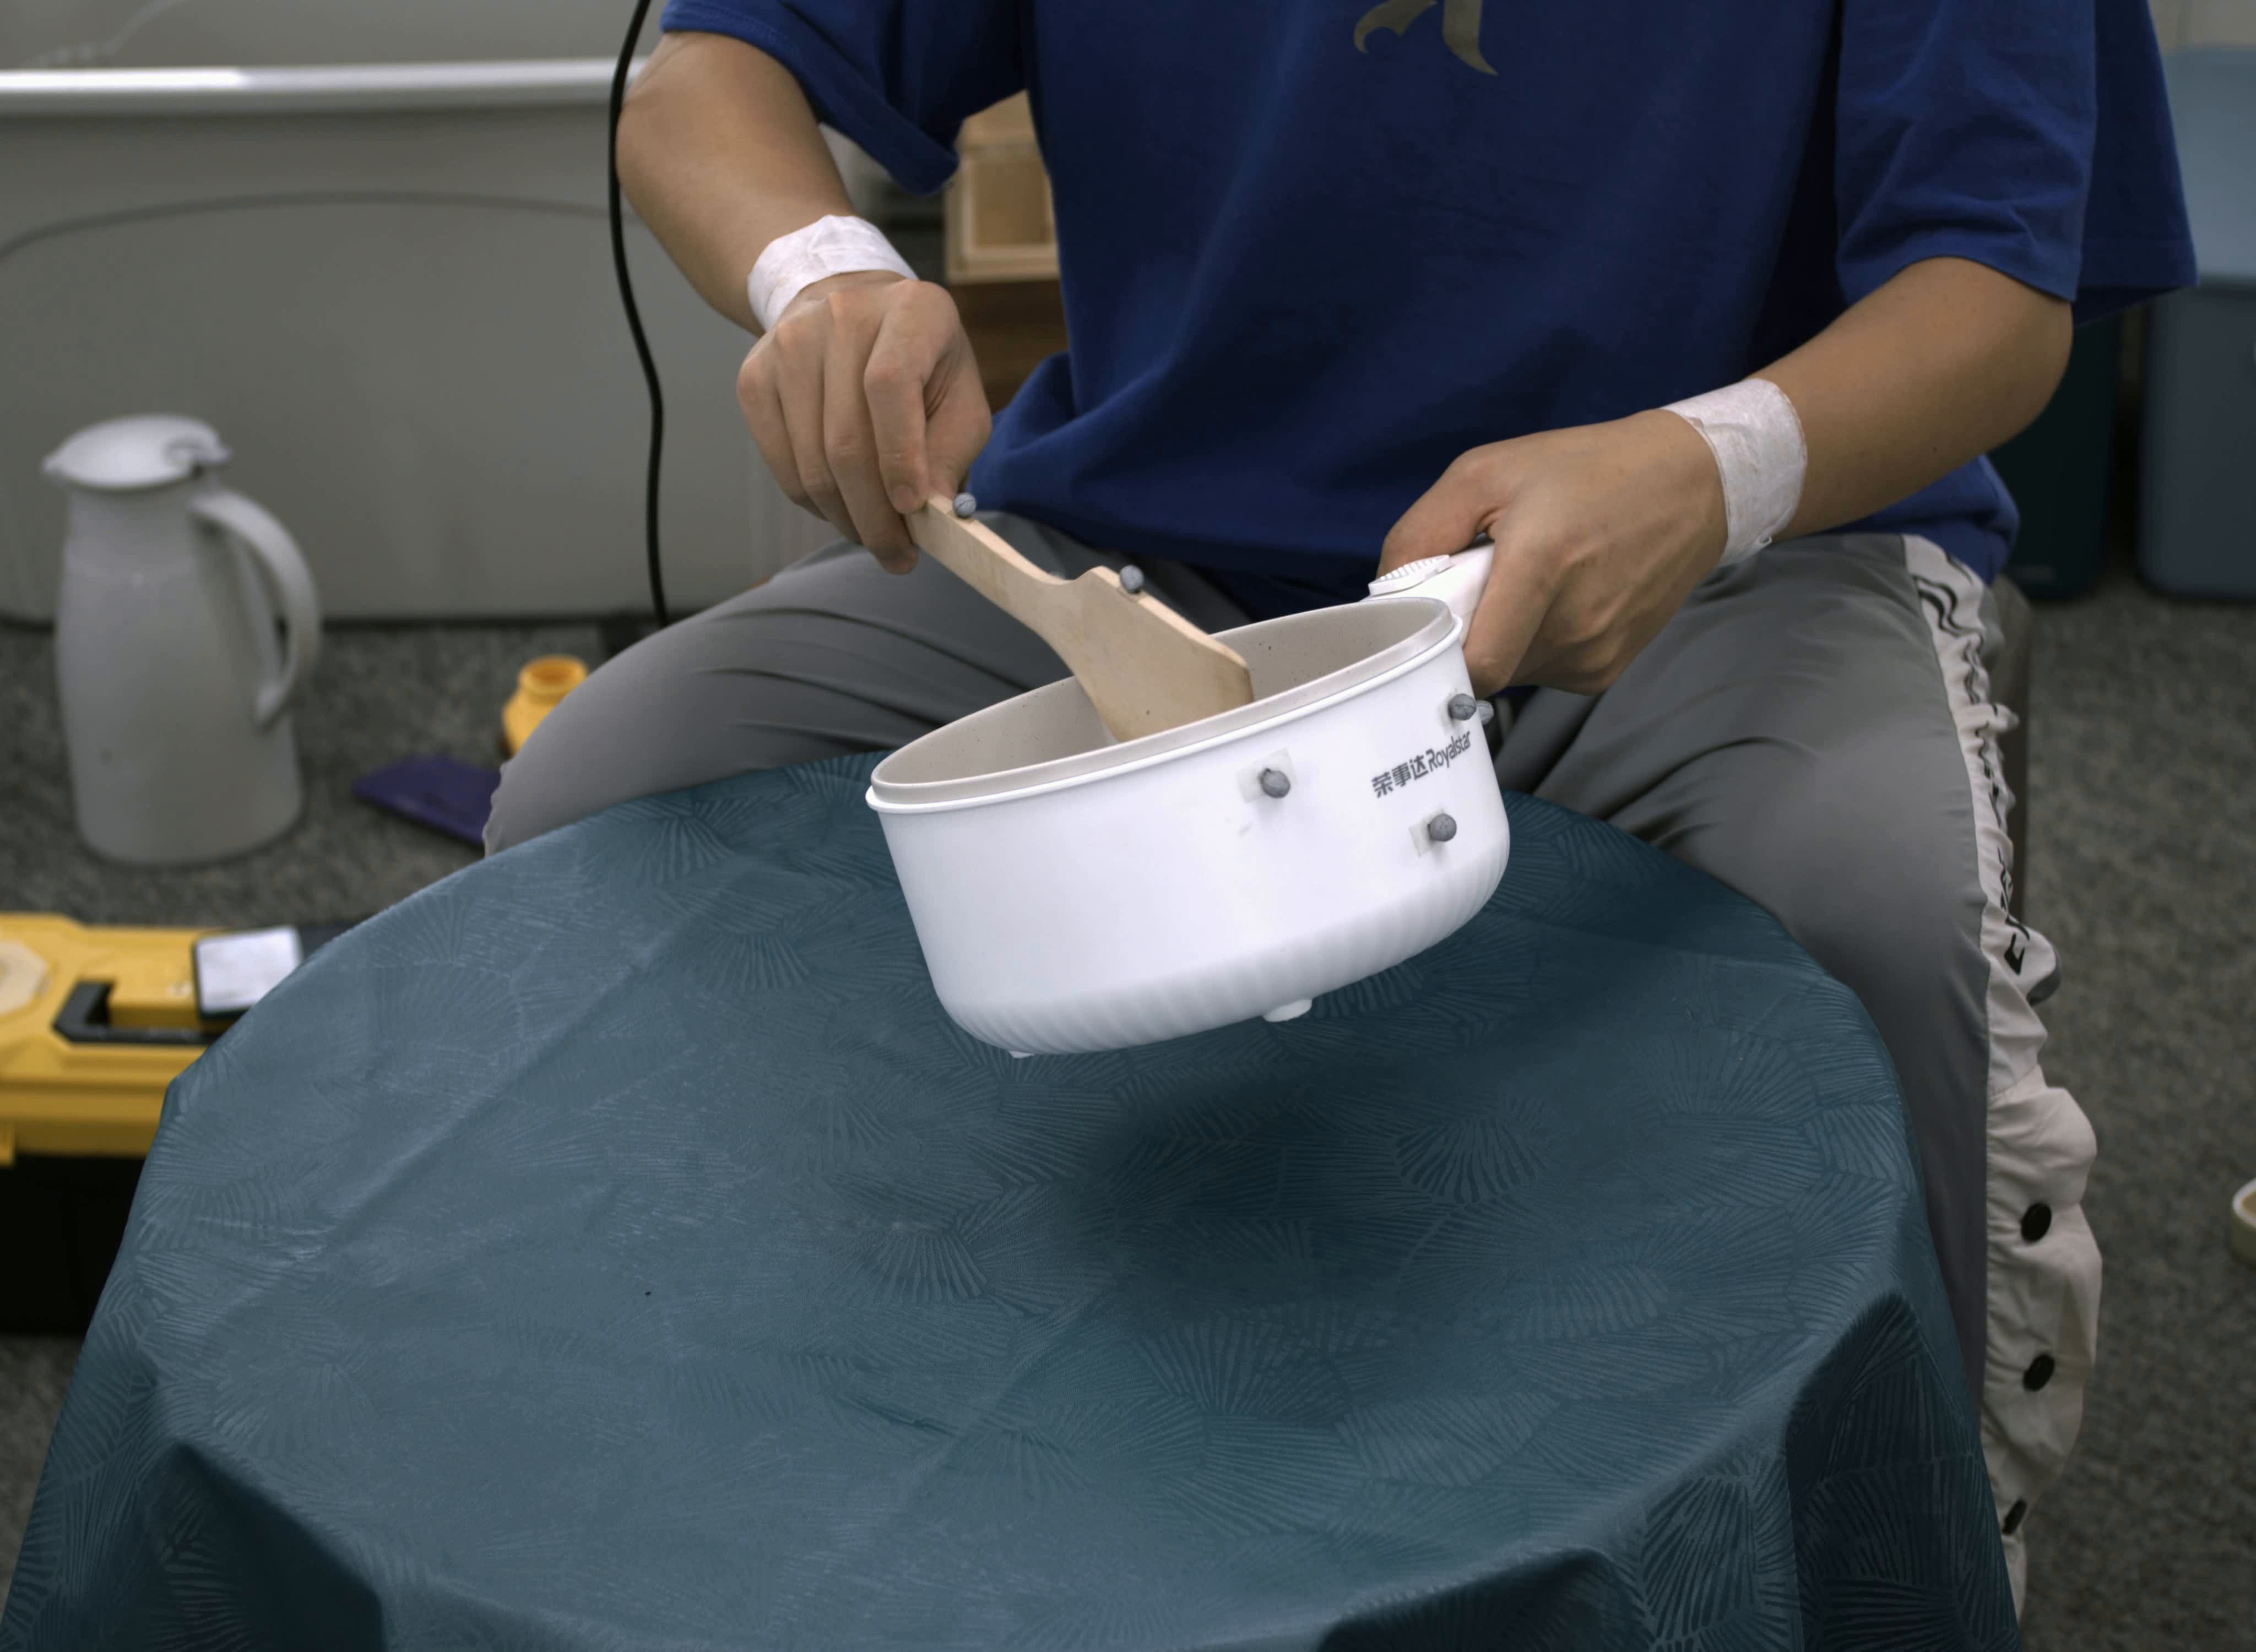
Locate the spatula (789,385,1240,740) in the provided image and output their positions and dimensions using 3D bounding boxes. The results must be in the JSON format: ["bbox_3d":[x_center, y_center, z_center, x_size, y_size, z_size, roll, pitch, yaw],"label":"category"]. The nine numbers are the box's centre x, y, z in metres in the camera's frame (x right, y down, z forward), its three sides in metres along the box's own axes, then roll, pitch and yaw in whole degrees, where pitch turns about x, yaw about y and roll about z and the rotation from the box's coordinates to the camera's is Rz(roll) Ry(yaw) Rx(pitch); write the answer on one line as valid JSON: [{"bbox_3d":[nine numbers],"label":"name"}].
[{"bbox_3d":[-0.042,-0.089,1.930,0.011,0.071,0.294,-26,38,-22],"label":"spatula"}]

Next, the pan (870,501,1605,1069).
[{"bbox_3d":[0.066,-0.017,1.884,0.198,0.102,0.359,-13,9,36],"label":"pan"}]
